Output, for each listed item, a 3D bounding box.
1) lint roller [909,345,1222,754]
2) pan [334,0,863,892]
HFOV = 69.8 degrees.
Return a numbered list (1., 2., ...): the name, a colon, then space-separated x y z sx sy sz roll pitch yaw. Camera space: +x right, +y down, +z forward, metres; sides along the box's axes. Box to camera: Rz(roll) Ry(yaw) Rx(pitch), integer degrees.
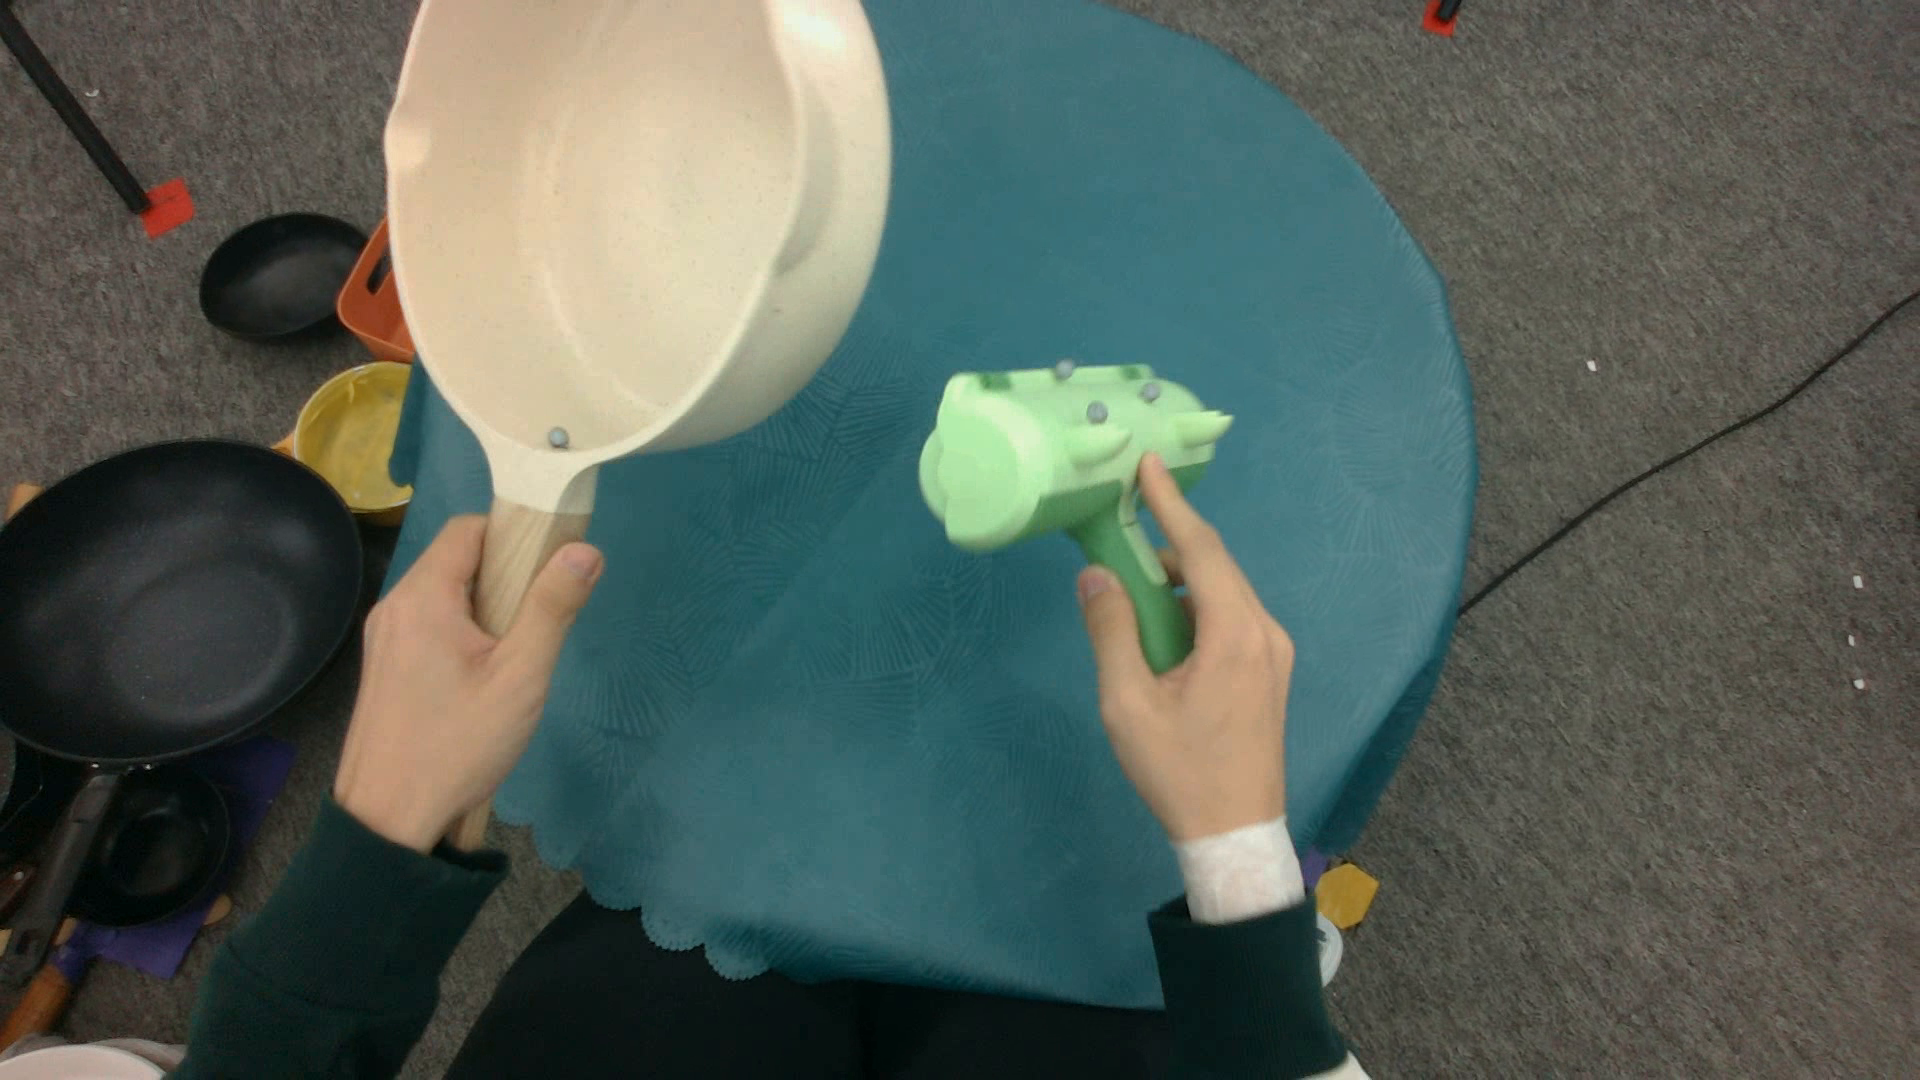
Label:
1. lint roller: 0.079 -0.004 0.589 0.199 0.082 0.183 -12 71 -58
2. pan: -0.168 -0.070 0.595 0.263 0.102 0.434 12 97 28
